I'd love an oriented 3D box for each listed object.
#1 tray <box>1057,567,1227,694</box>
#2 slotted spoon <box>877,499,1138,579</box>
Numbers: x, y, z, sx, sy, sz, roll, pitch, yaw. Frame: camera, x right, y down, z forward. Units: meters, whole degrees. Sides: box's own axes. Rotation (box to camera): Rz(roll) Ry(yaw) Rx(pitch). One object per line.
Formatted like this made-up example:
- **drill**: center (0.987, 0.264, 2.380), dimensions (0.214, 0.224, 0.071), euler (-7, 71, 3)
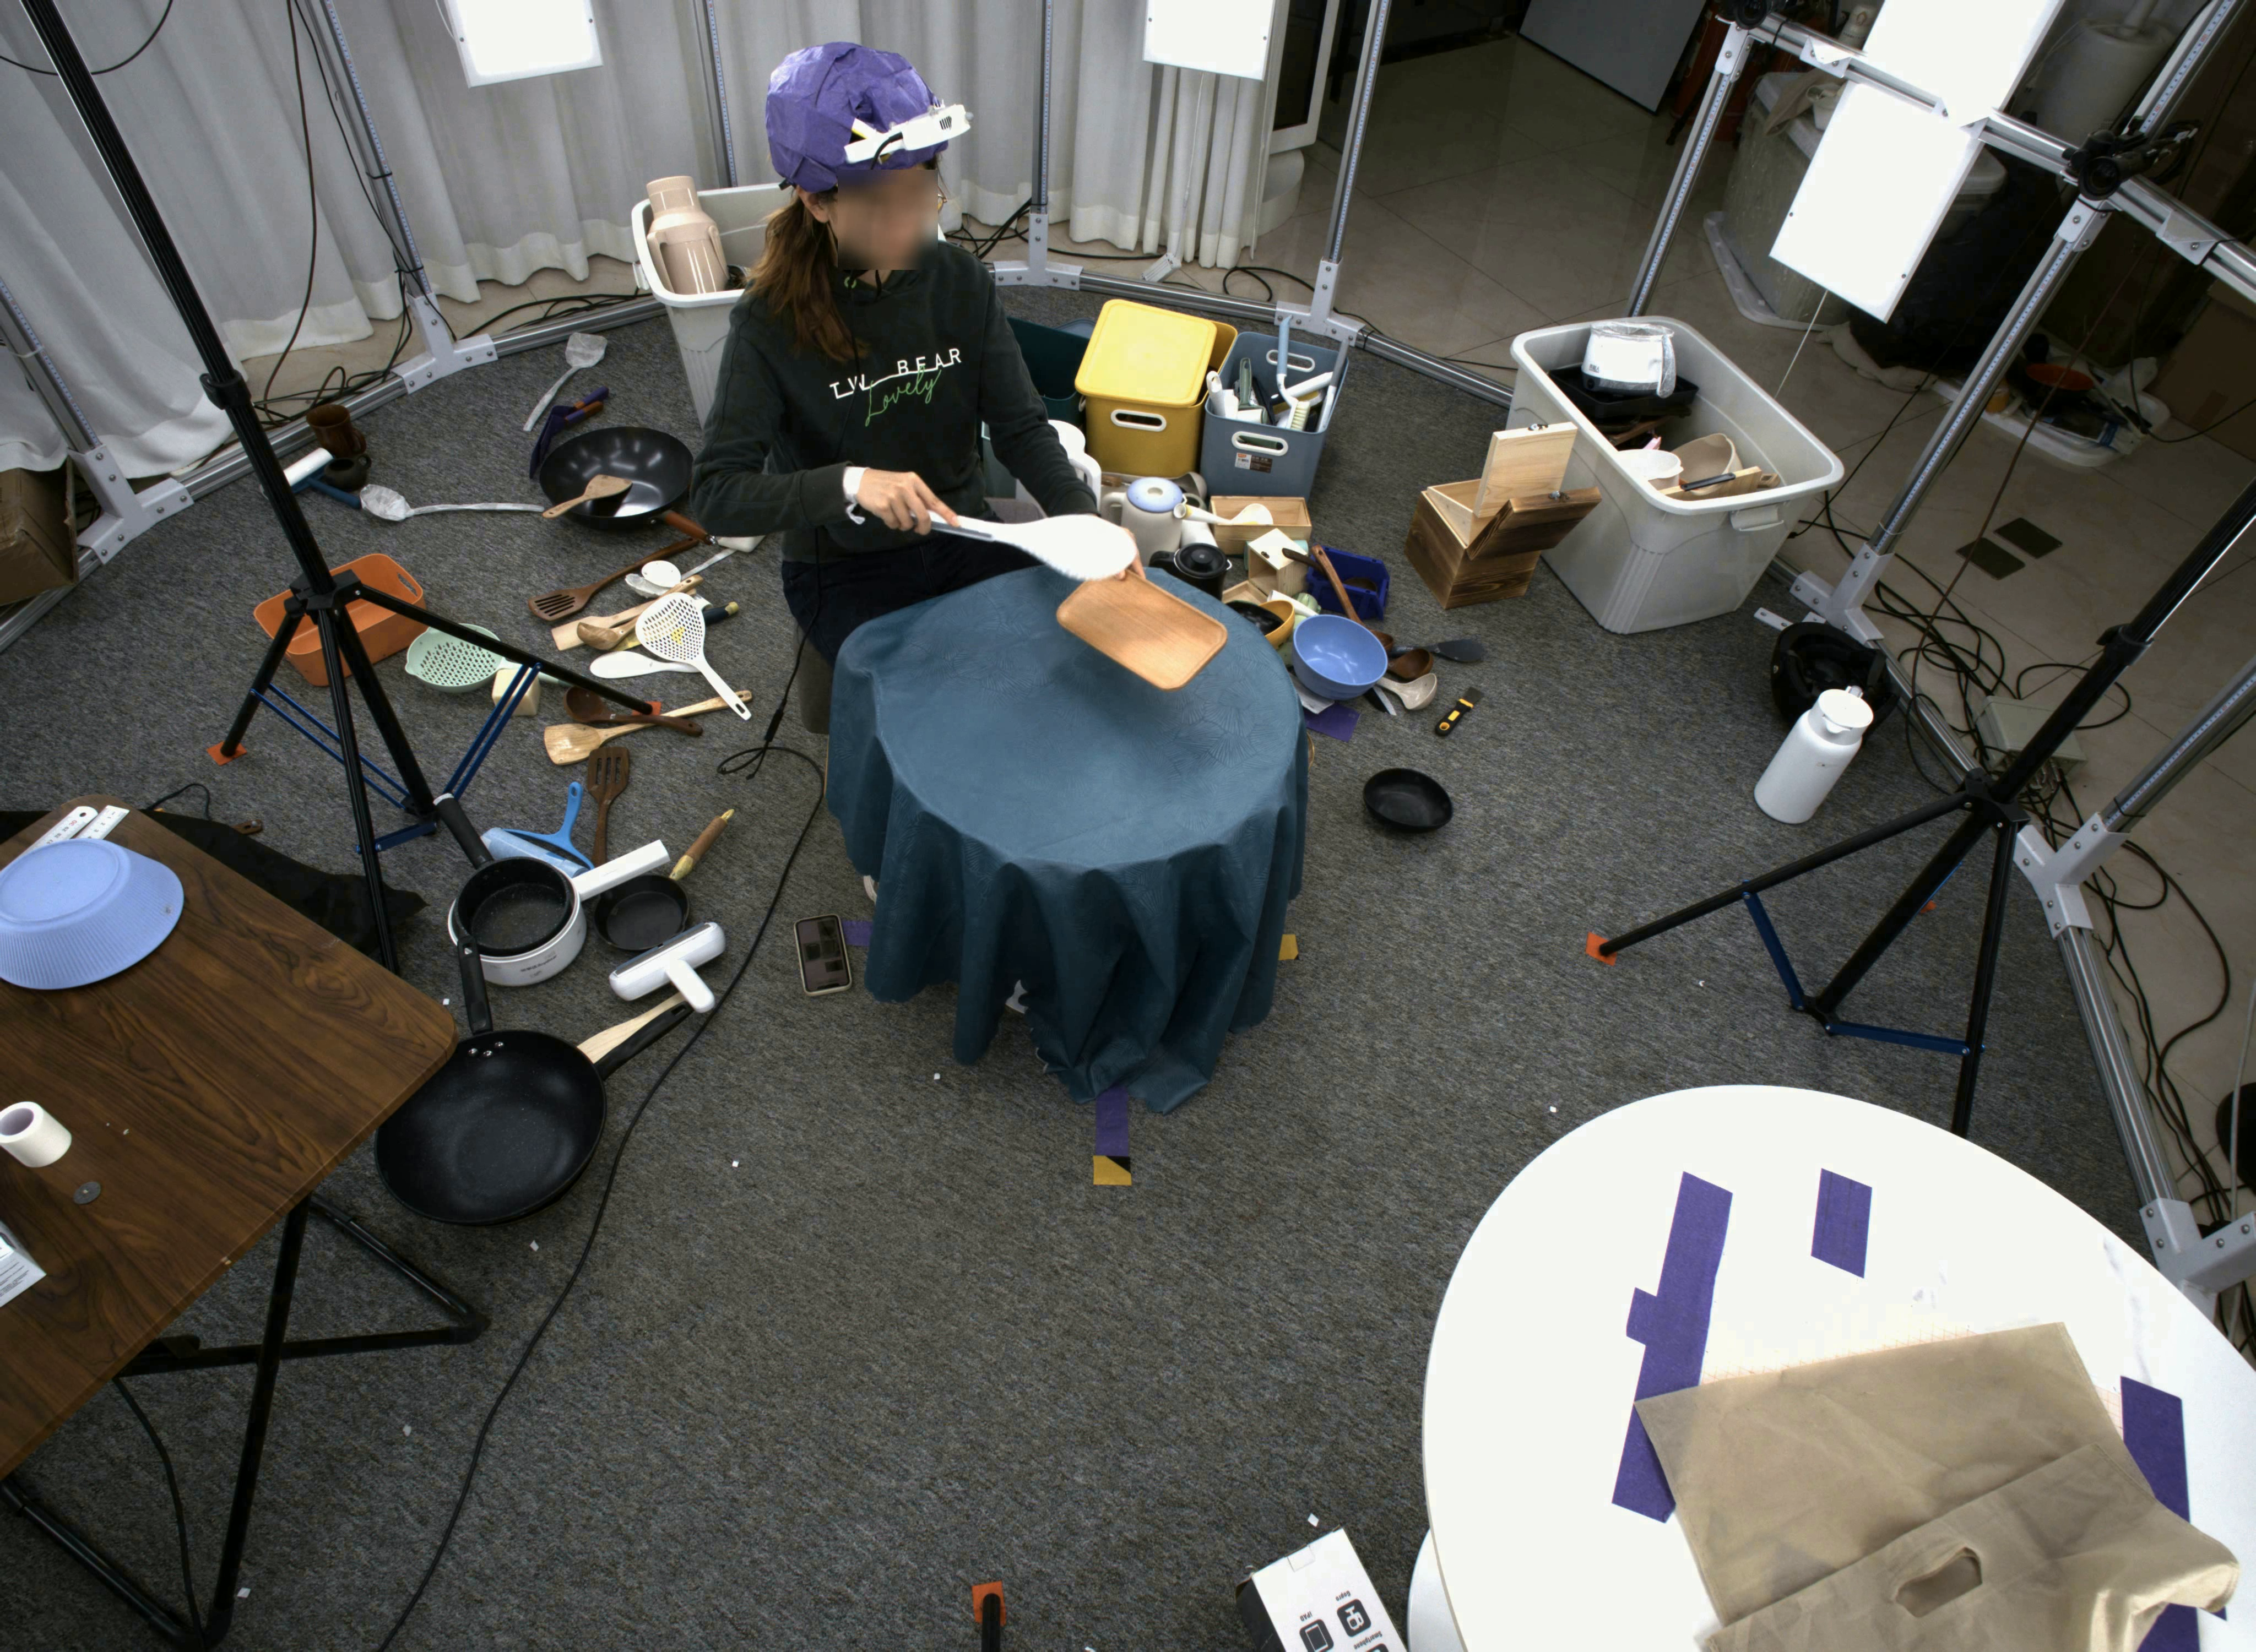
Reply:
- **tray**: center (0.017, -0.275, 1.790), dimensions (0.131, 0.022, 0.255), euler (-44, 54, -14)
- **slotted spoon**: center (-0.162, -0.394, 1.732), dimensions (0.349, 0.133, 0.046), euler (15, 66, 1)
